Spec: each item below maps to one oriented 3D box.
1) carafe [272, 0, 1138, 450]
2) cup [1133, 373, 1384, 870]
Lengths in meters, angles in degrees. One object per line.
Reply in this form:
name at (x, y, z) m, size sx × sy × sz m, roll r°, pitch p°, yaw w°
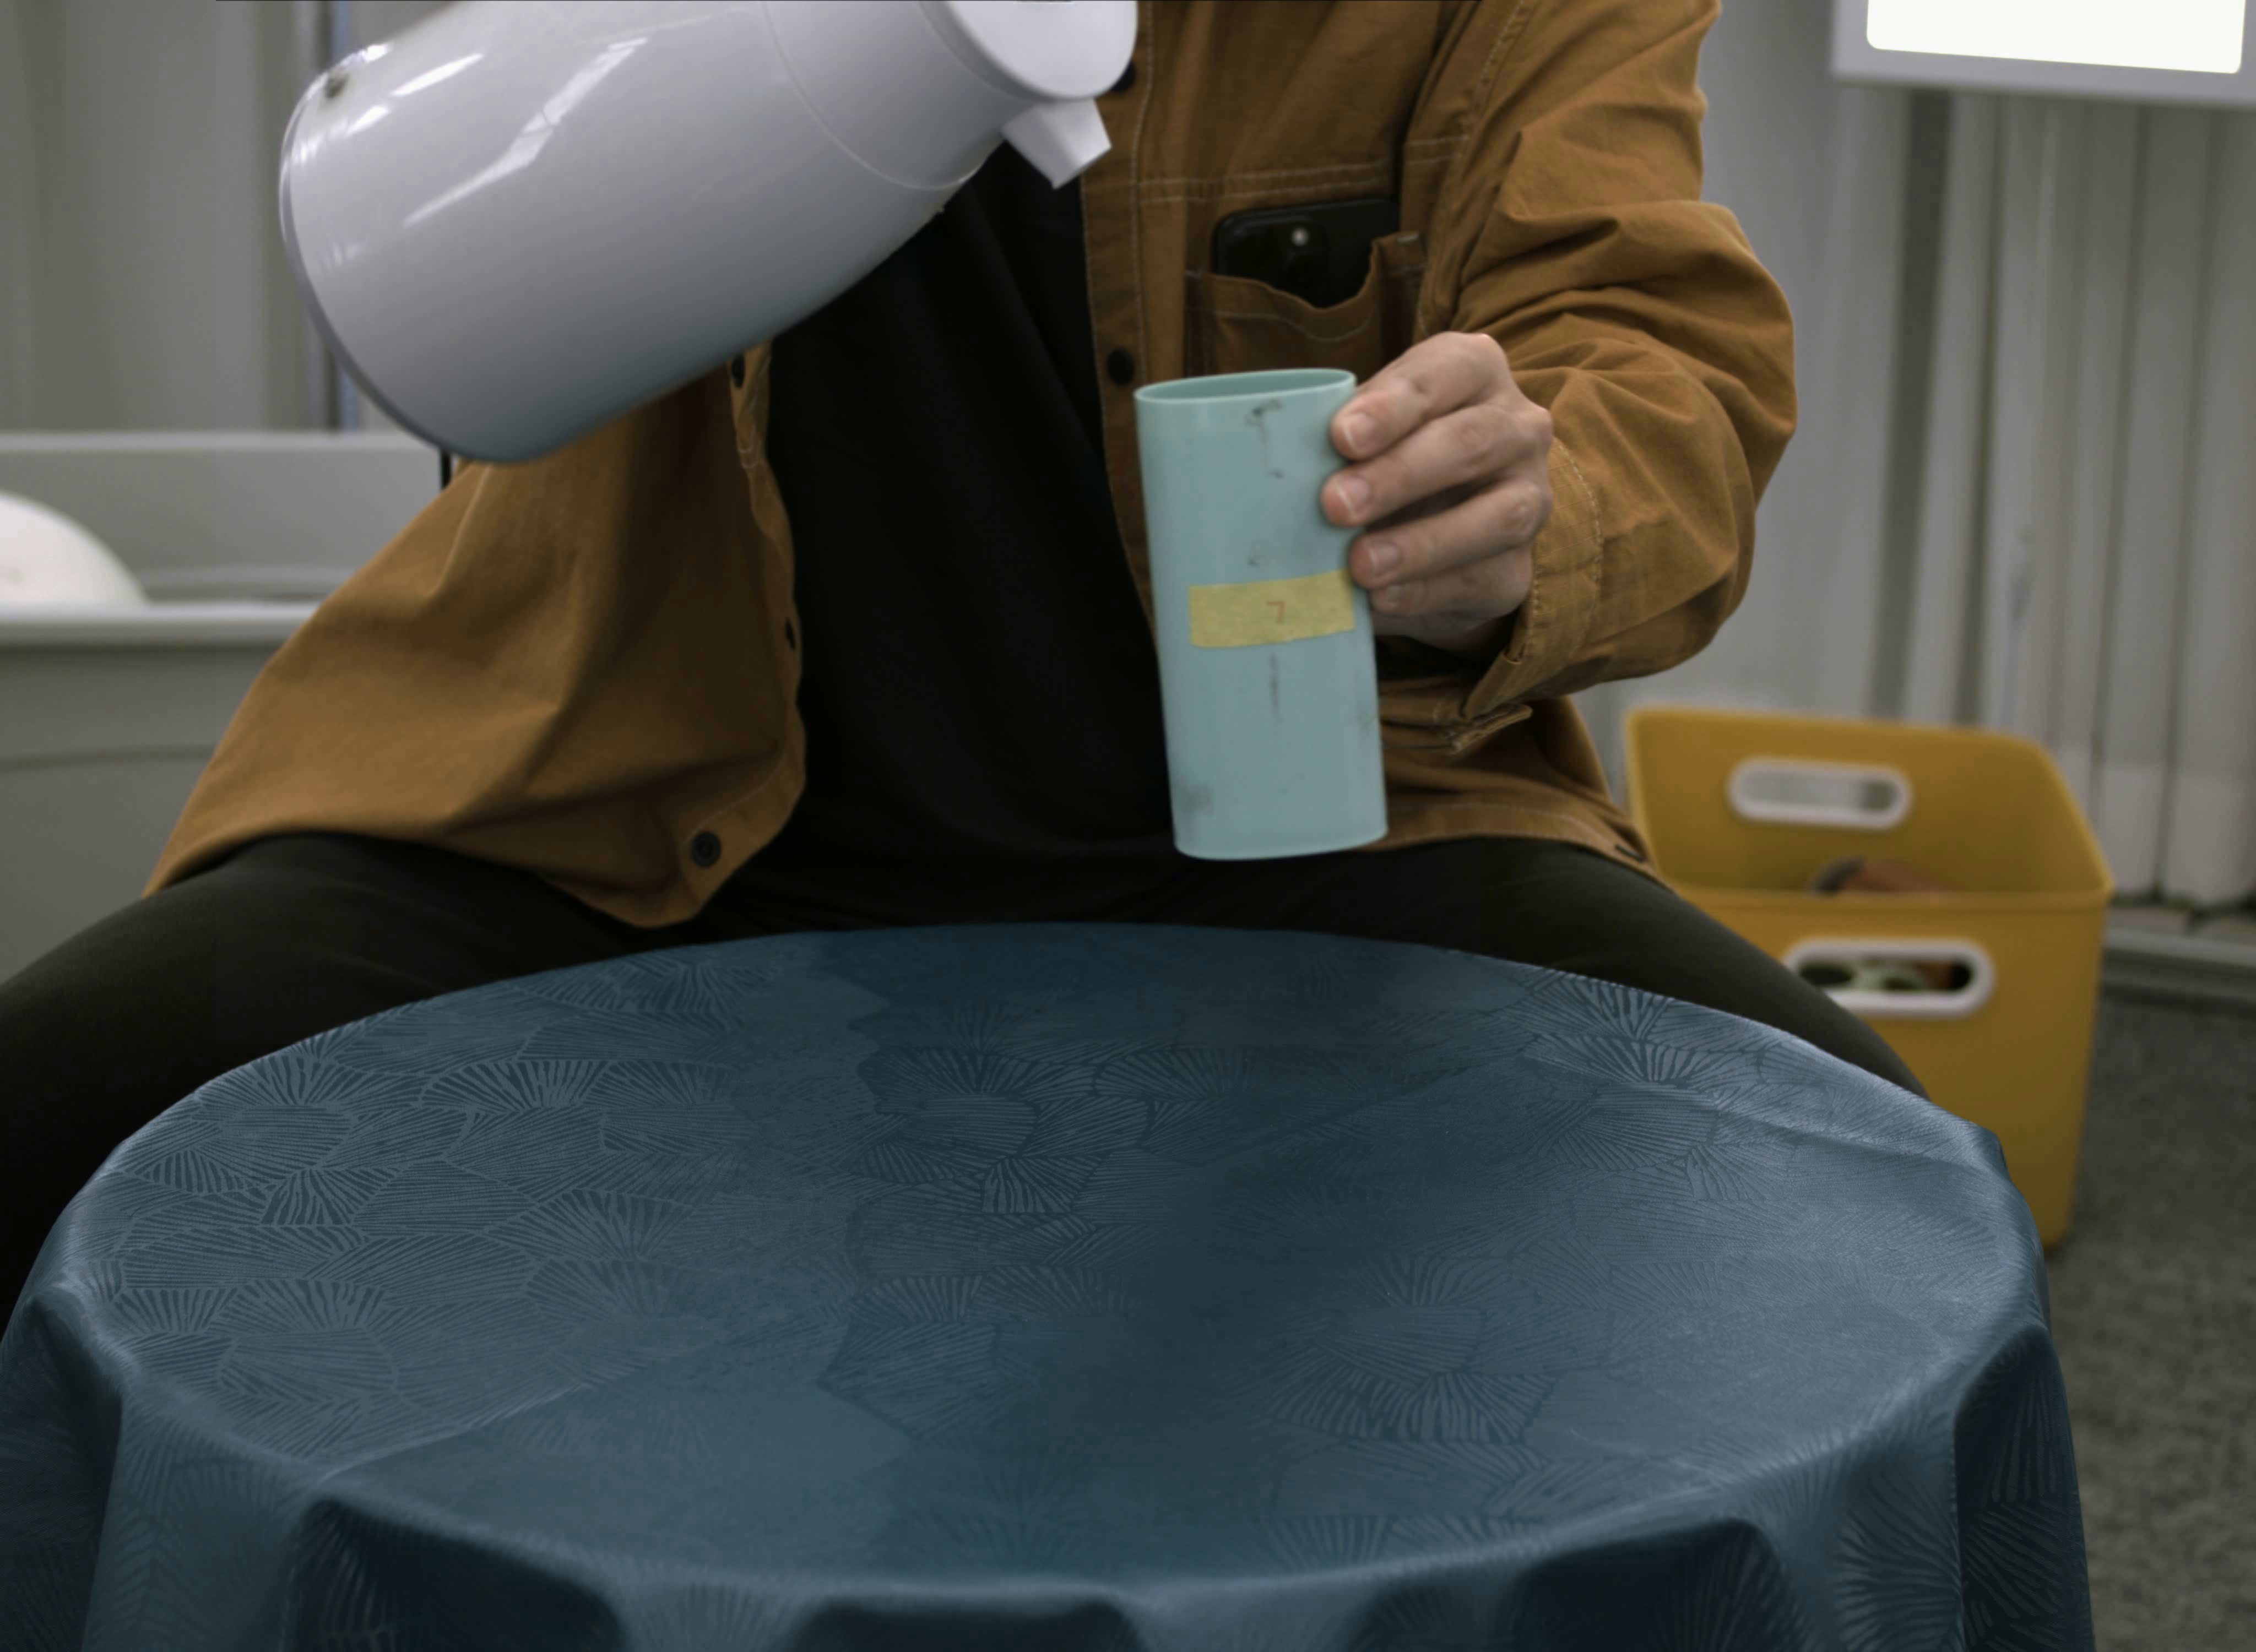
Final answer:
carafe at (-0.124, -0.226, 1.494) m, size 0.247 × 0.169 × 0.132 m, roll -21°, pitch 14°, yaw 37°
cup at (0.038, -0.059, 1.481) m, size 0.066 × 0.133 × 0.066 m, roll -4°, pitch 11°, yaw 1°
